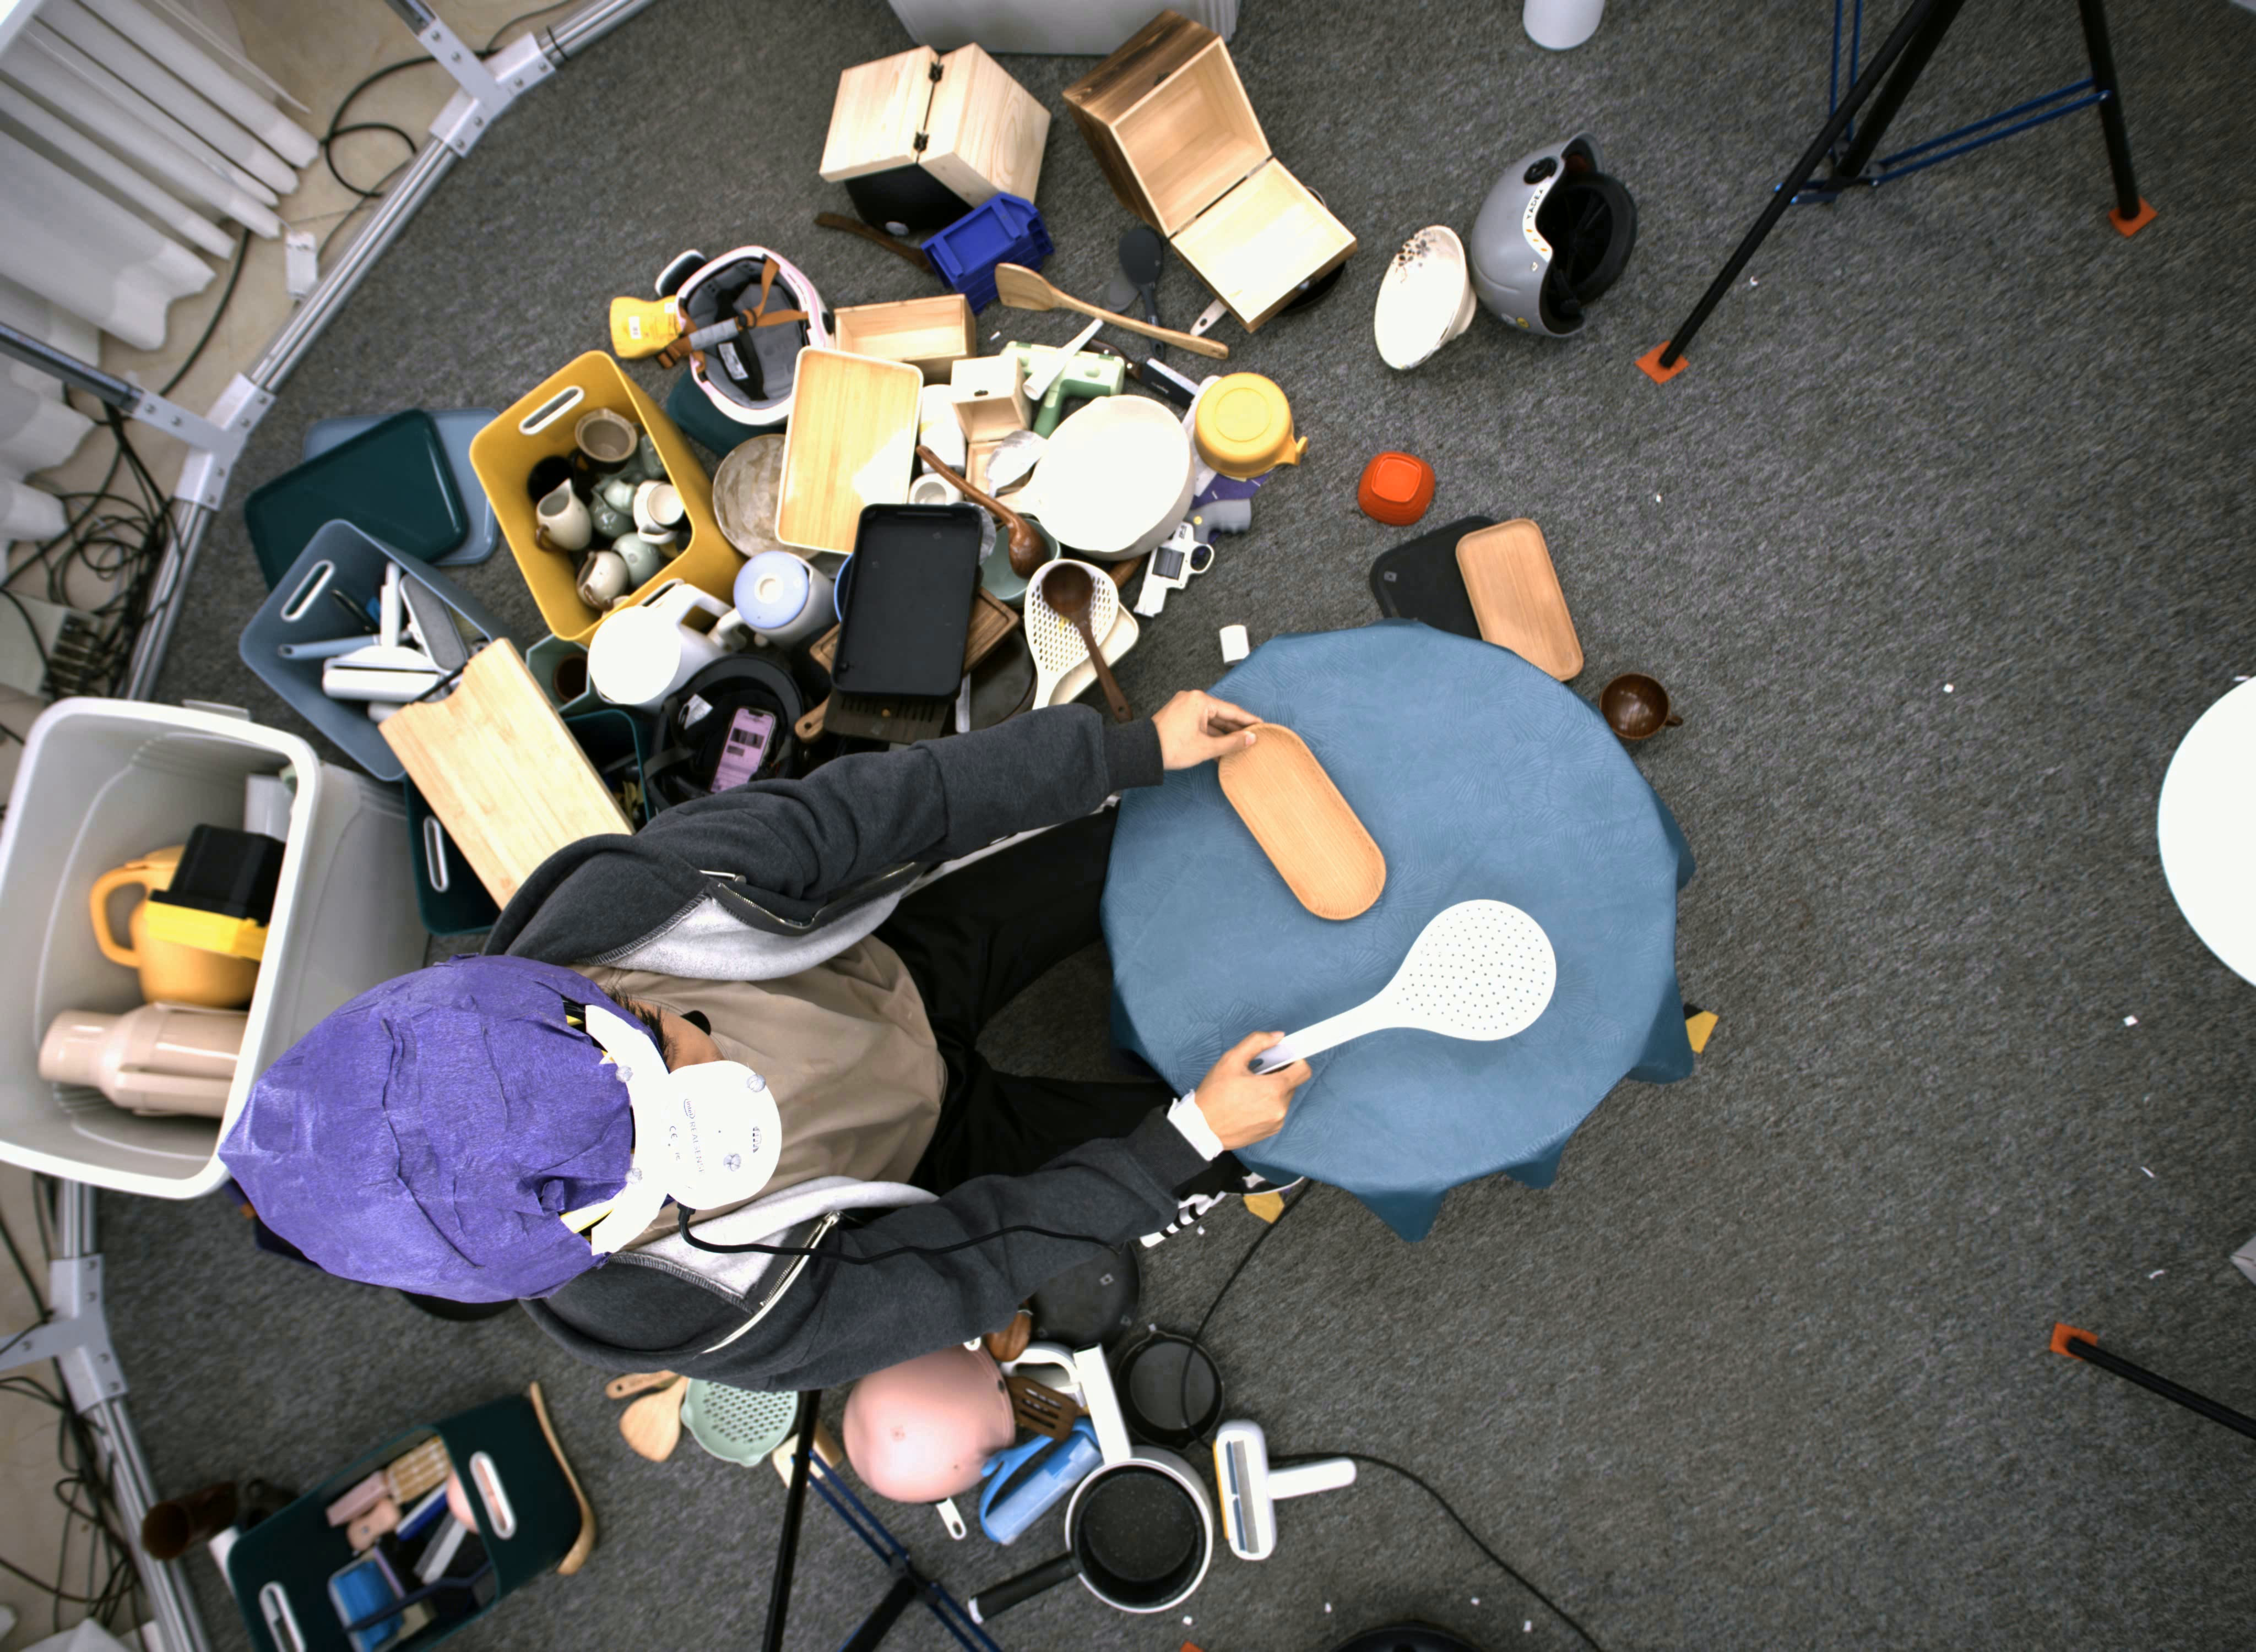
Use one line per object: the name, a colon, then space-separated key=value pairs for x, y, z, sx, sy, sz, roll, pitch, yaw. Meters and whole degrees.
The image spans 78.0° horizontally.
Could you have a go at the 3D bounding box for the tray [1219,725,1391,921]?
tray: x=0.186 y=-0.004 z=1.459 sx=0.102 sy=0.020 sz=0.231 roll=-37 pitch=89 yaw=9

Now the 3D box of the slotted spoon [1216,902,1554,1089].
slotted spoon: x=0.249 y=0.184 z=1.371 sx=0.352 sy=0.045 sz=0.136 roll=-25 pitch=89 yaw=9
